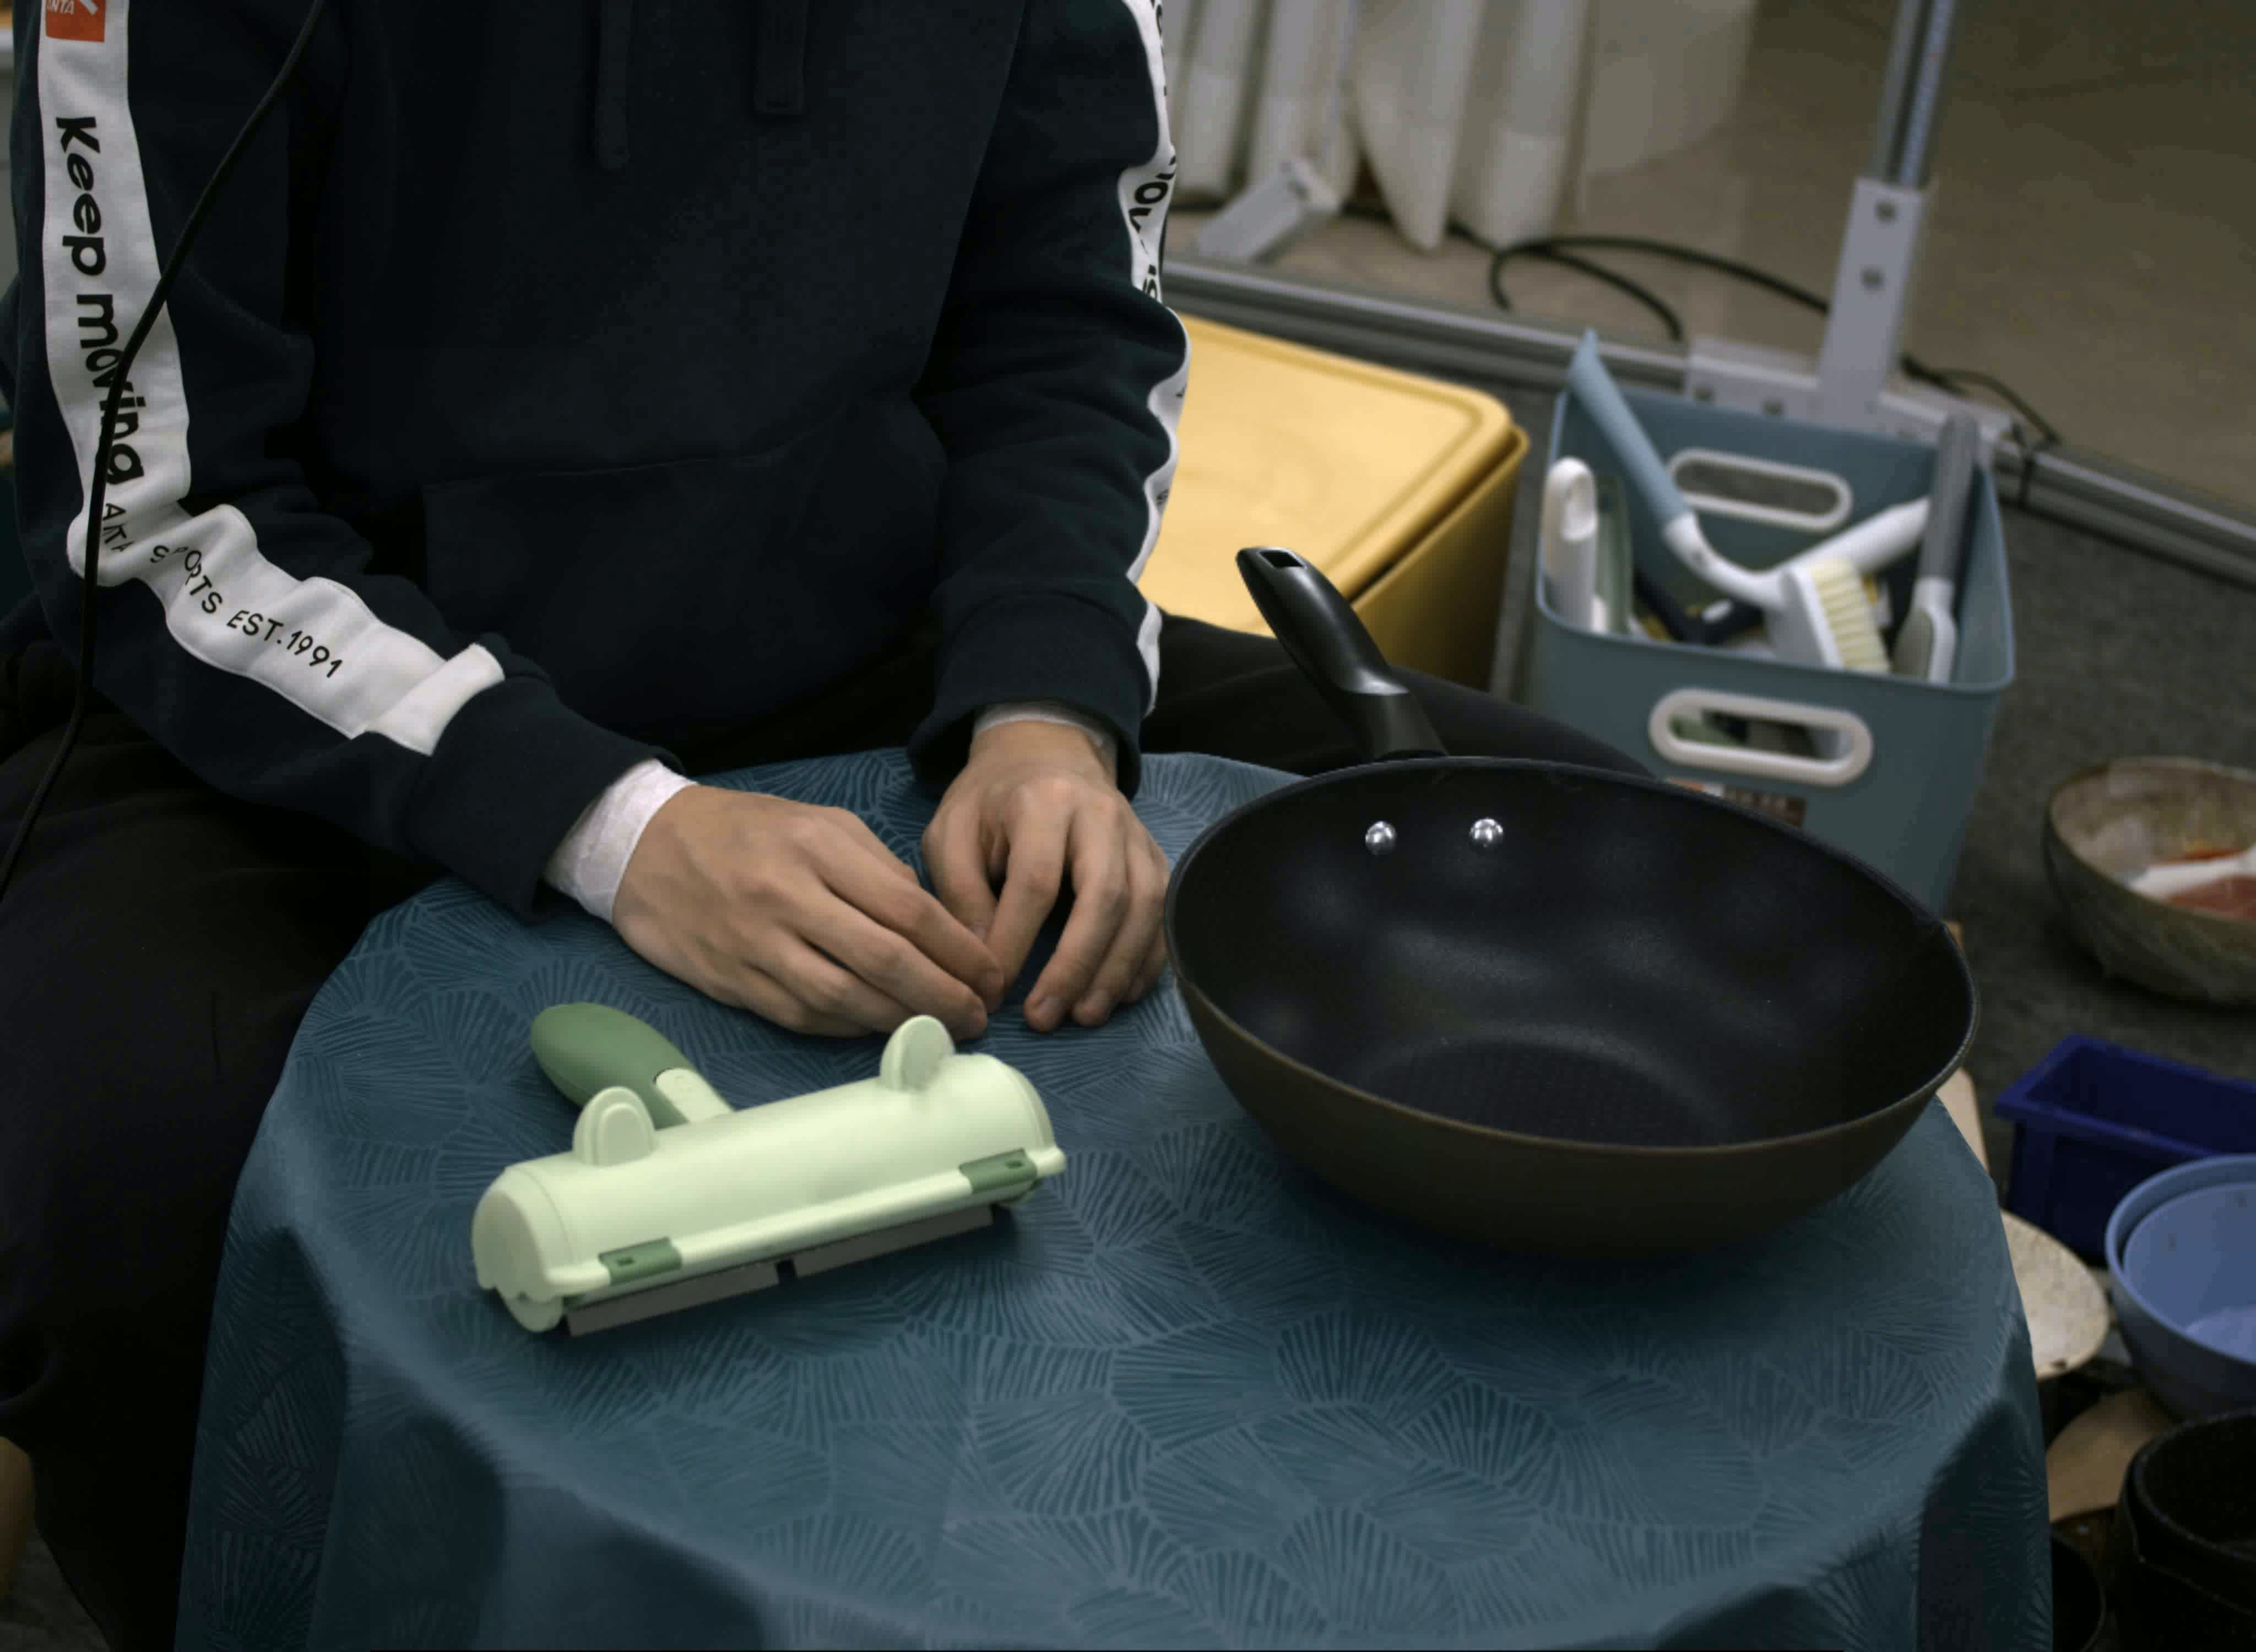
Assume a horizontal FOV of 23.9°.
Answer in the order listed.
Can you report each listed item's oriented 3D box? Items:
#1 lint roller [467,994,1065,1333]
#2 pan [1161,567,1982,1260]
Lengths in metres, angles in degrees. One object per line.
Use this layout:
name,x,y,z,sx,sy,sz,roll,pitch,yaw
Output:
lint roller,-0.146,0.084,1.761,0.197,0.082,0.185,-12,37,-32
pan,0.118,0.033,1.912,0.286,0.086,0.467,-3,27,-19
